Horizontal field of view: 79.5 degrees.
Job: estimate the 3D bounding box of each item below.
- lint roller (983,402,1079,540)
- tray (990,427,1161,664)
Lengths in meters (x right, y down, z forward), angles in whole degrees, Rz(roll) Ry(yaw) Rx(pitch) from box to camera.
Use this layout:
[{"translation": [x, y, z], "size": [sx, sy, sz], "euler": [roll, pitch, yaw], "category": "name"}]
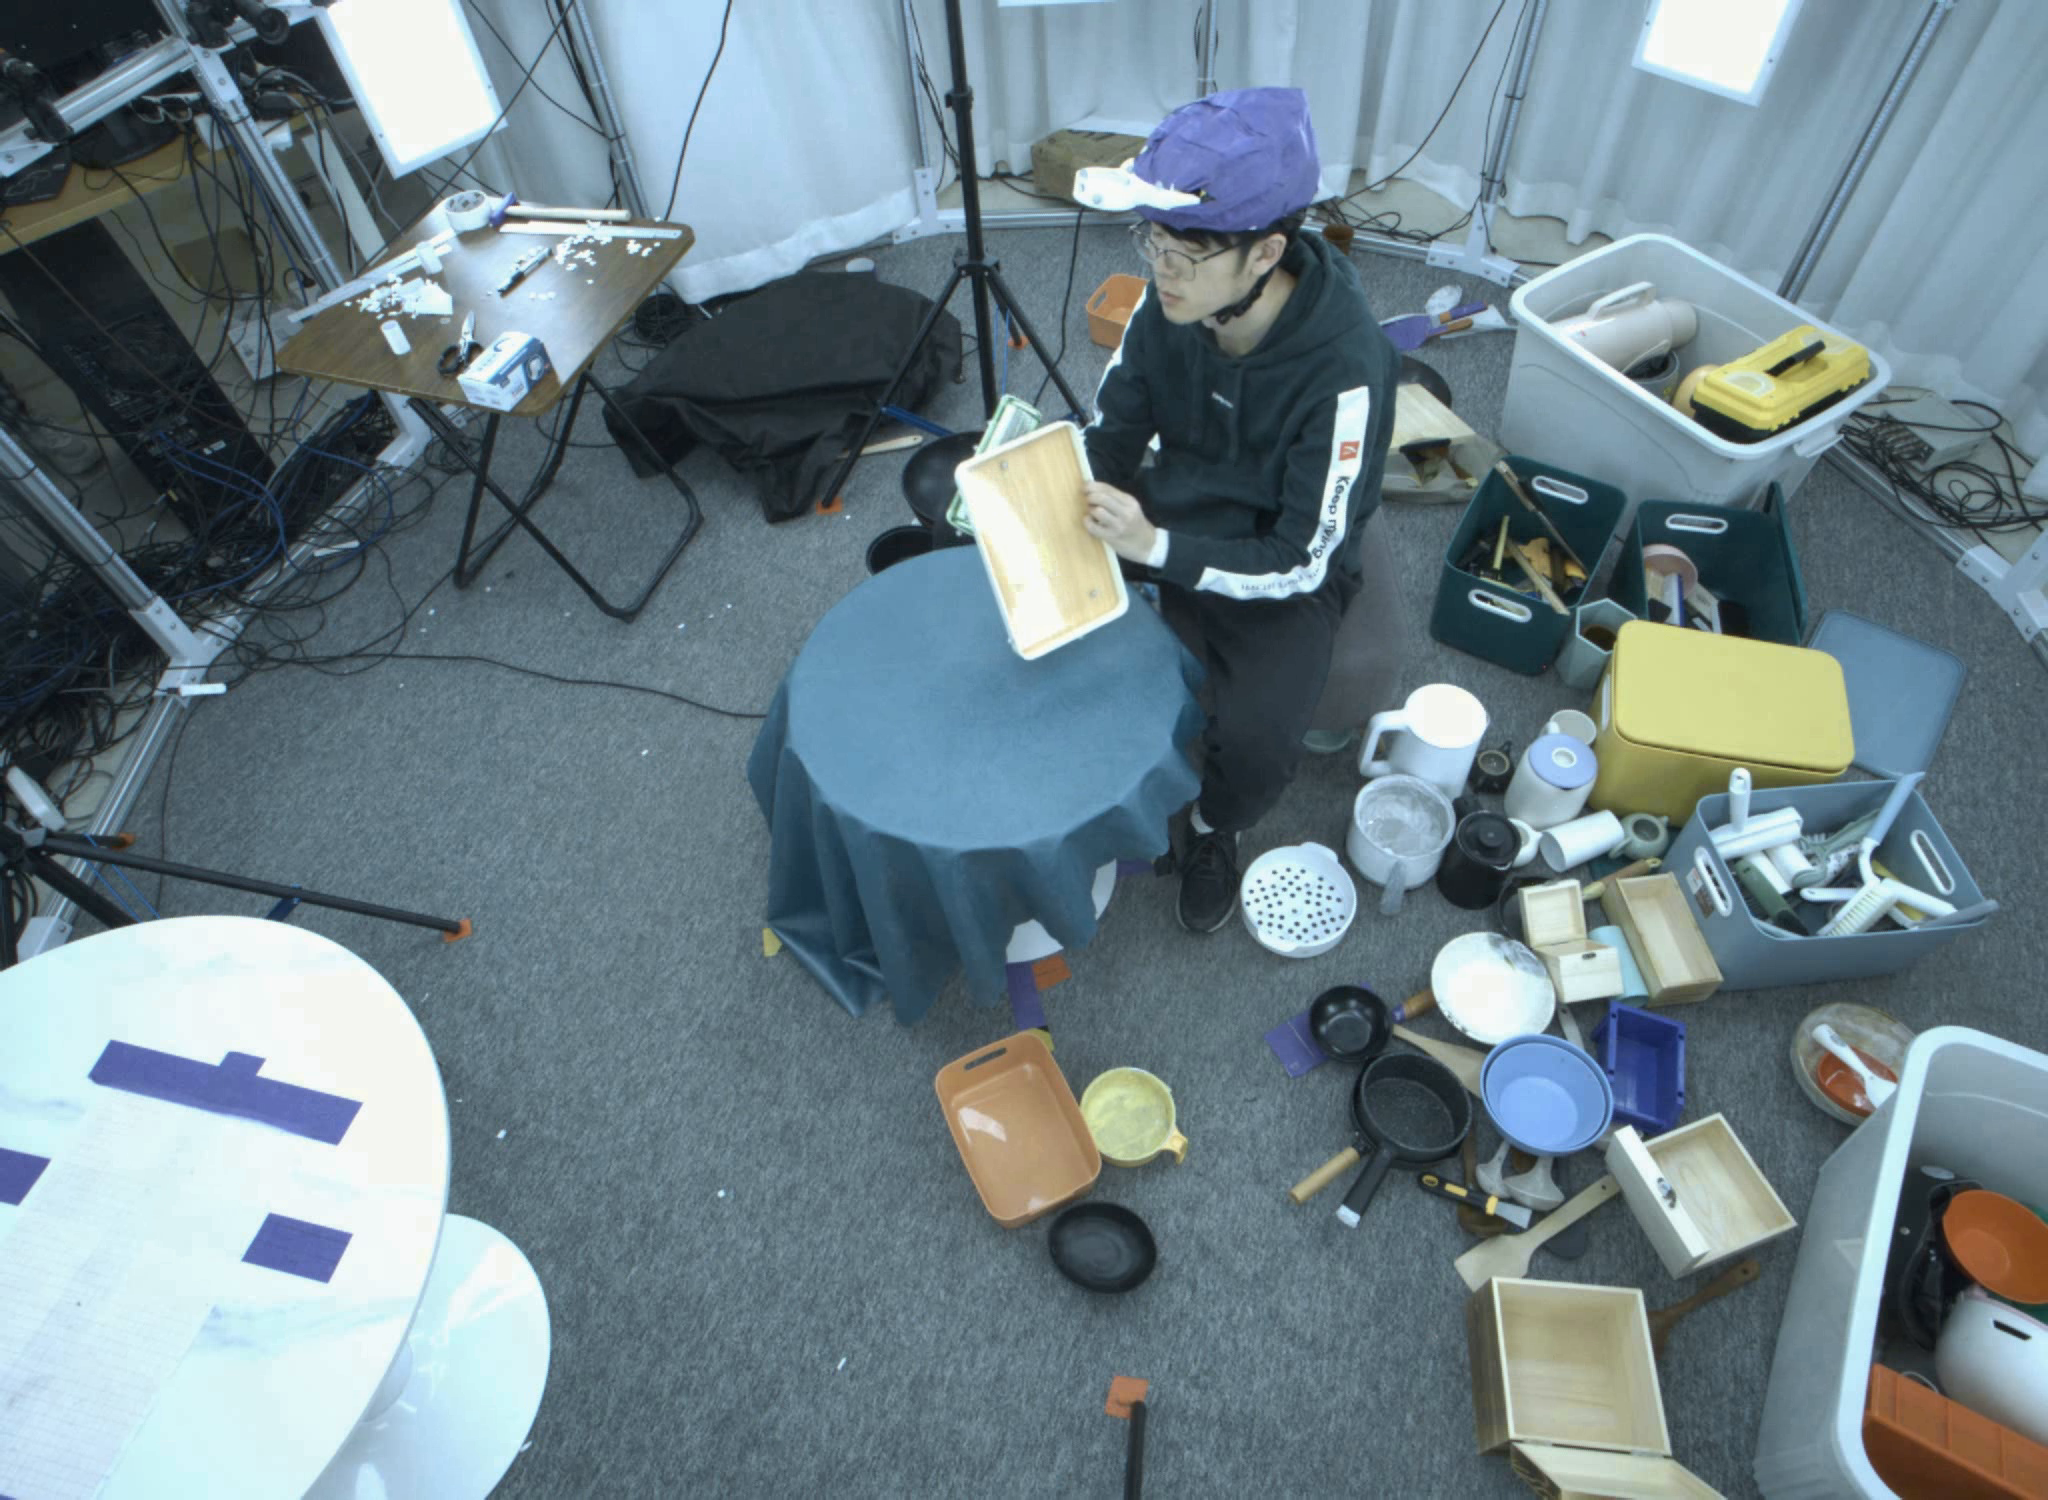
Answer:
[{"translation": [0.030, -0.384, 1.752], "size": [0.080, 0.187, 0.198], "euler": [29, 96, 30], "category": "lint roller"}, {"translation": [0.076, -0.288, 1.725], "size": [0.193, 0.304, 0.027], "euler": [-27, 29, -17], "category": "tray"}]
